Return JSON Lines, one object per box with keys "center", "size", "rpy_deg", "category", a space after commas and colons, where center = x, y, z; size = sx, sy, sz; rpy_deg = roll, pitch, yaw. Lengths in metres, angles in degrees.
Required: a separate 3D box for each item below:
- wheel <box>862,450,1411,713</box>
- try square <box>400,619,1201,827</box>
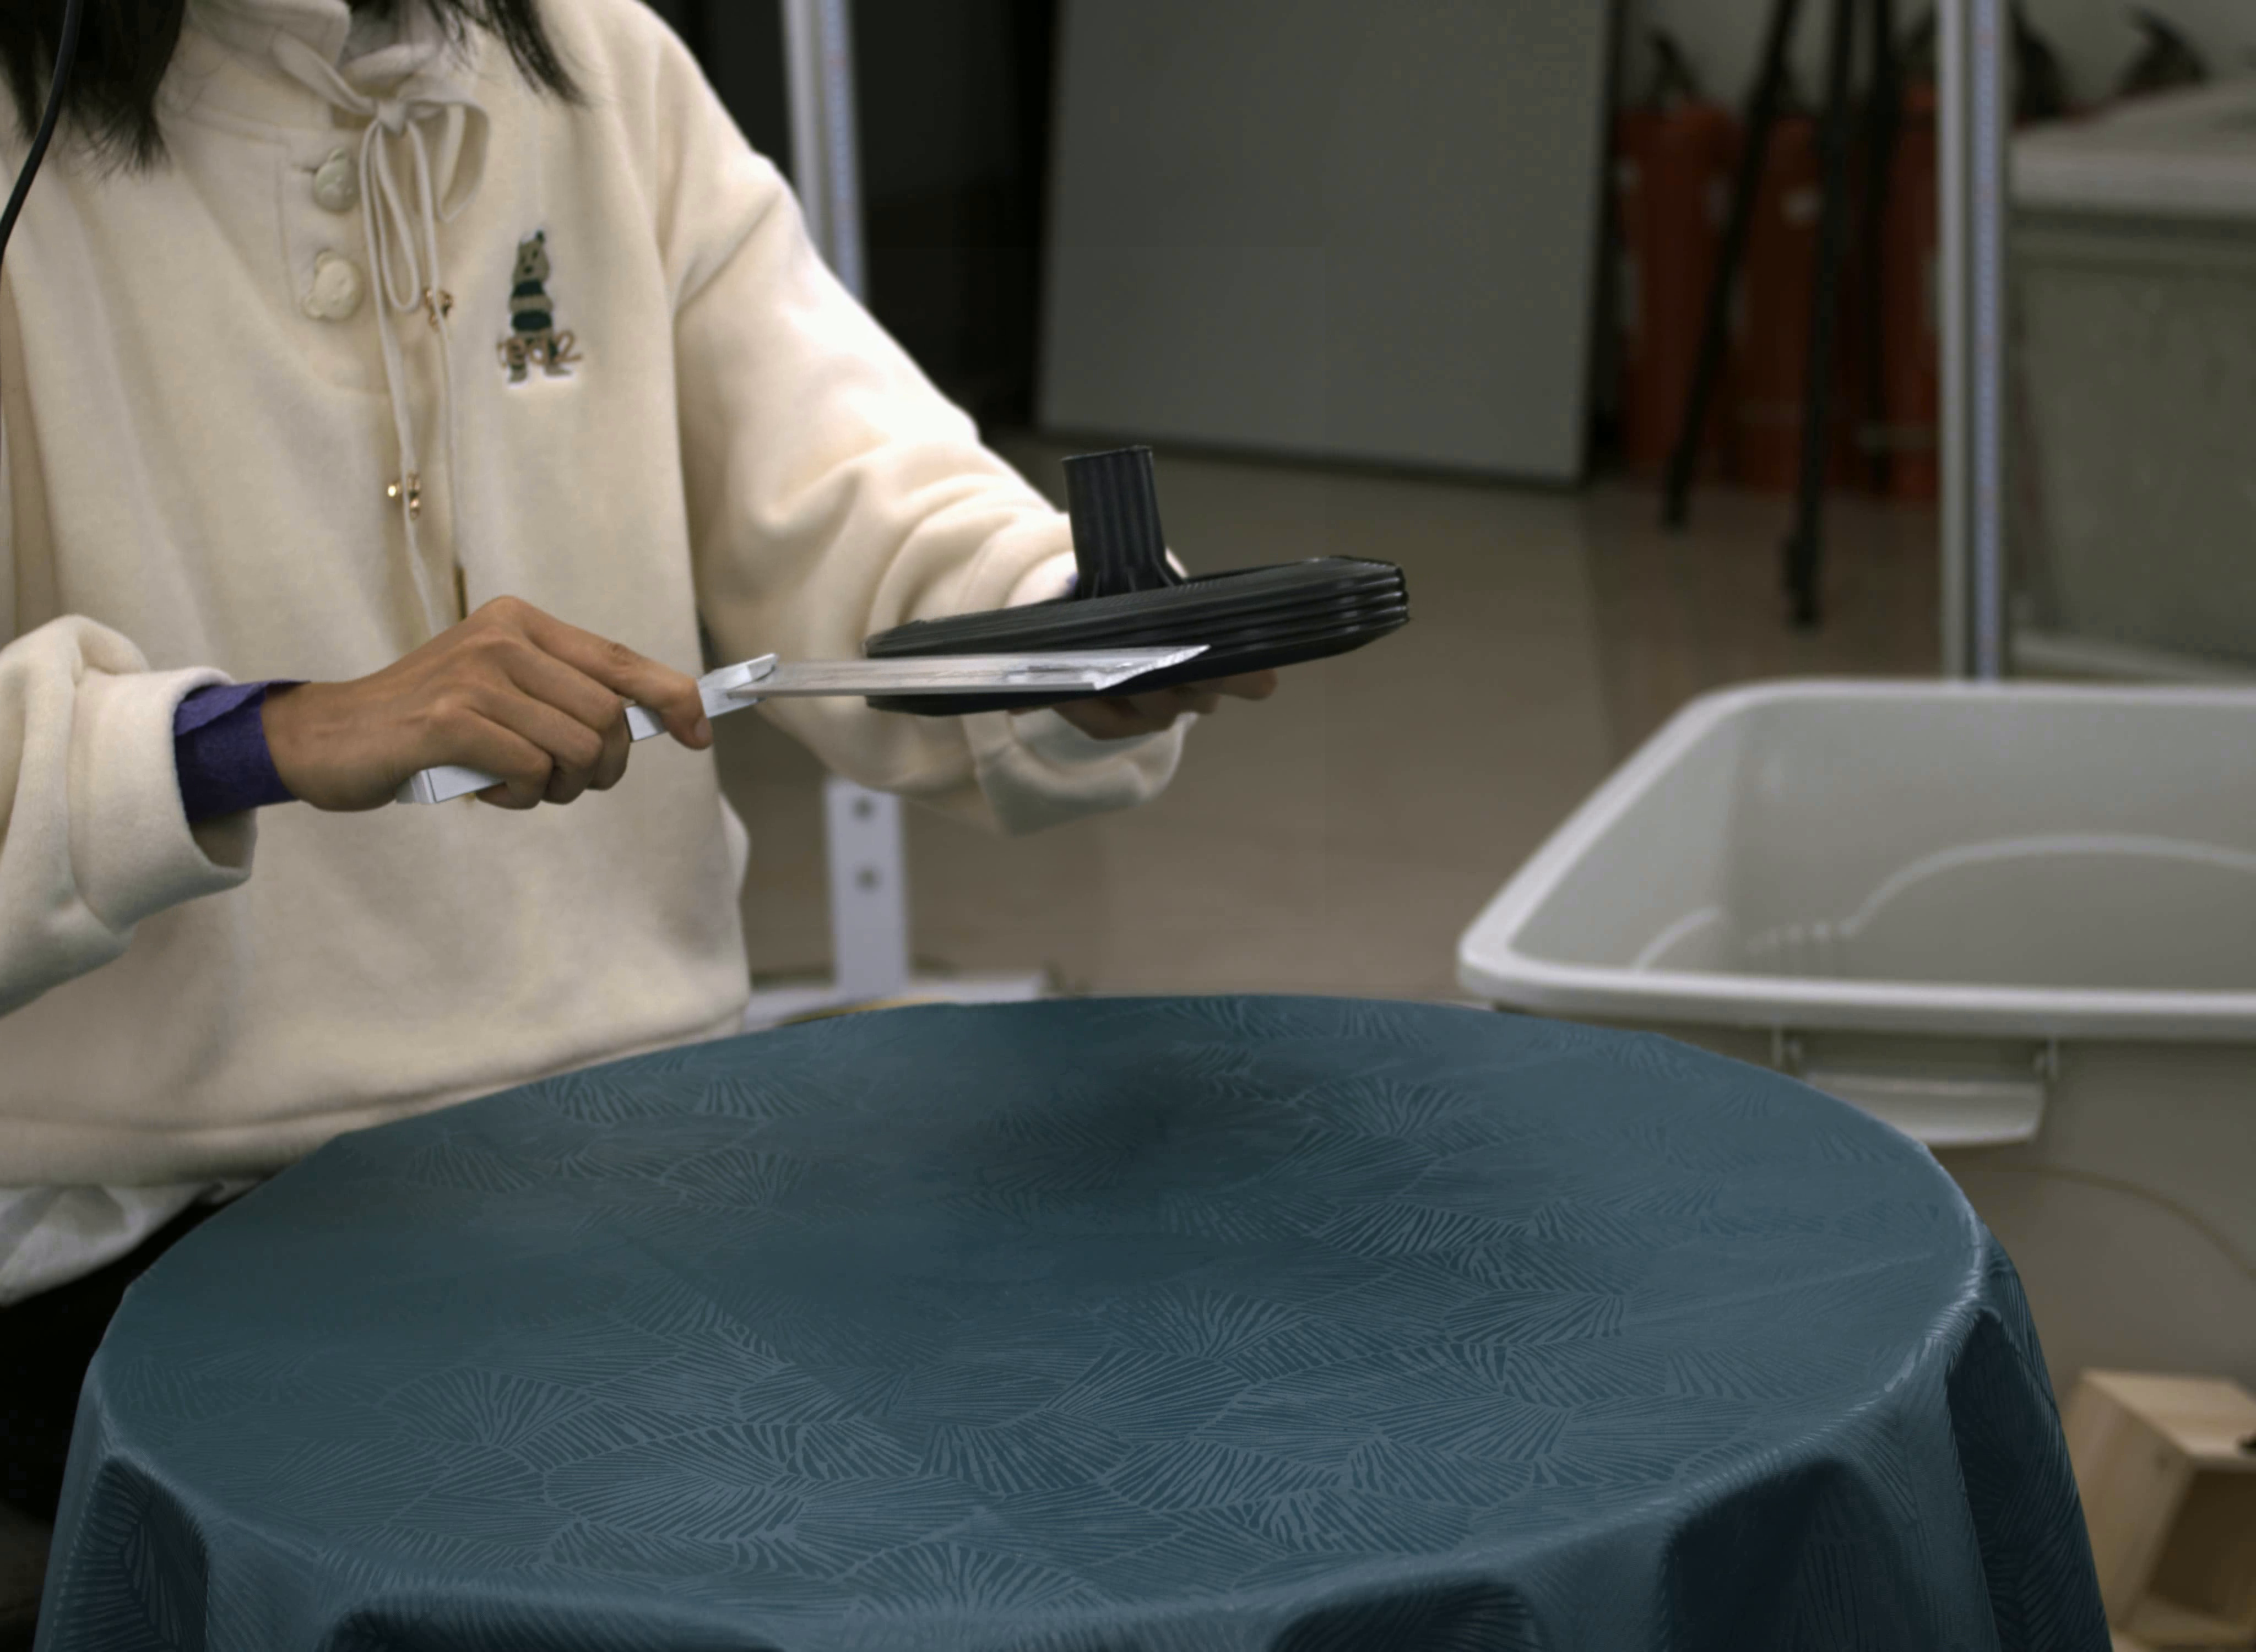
{"center": [-0.001, -0.084, 1.809], "size": [0.185, 0.080, 0.189], "rpy_deg": [-11, 3, -40], "category": "wheel"}
{"center": [-0.108, -0.032, 1.672], "size": [0.149, 0.016, 0.316], "rpy_deg": [-23, 10, -24], "category": "try square"}
